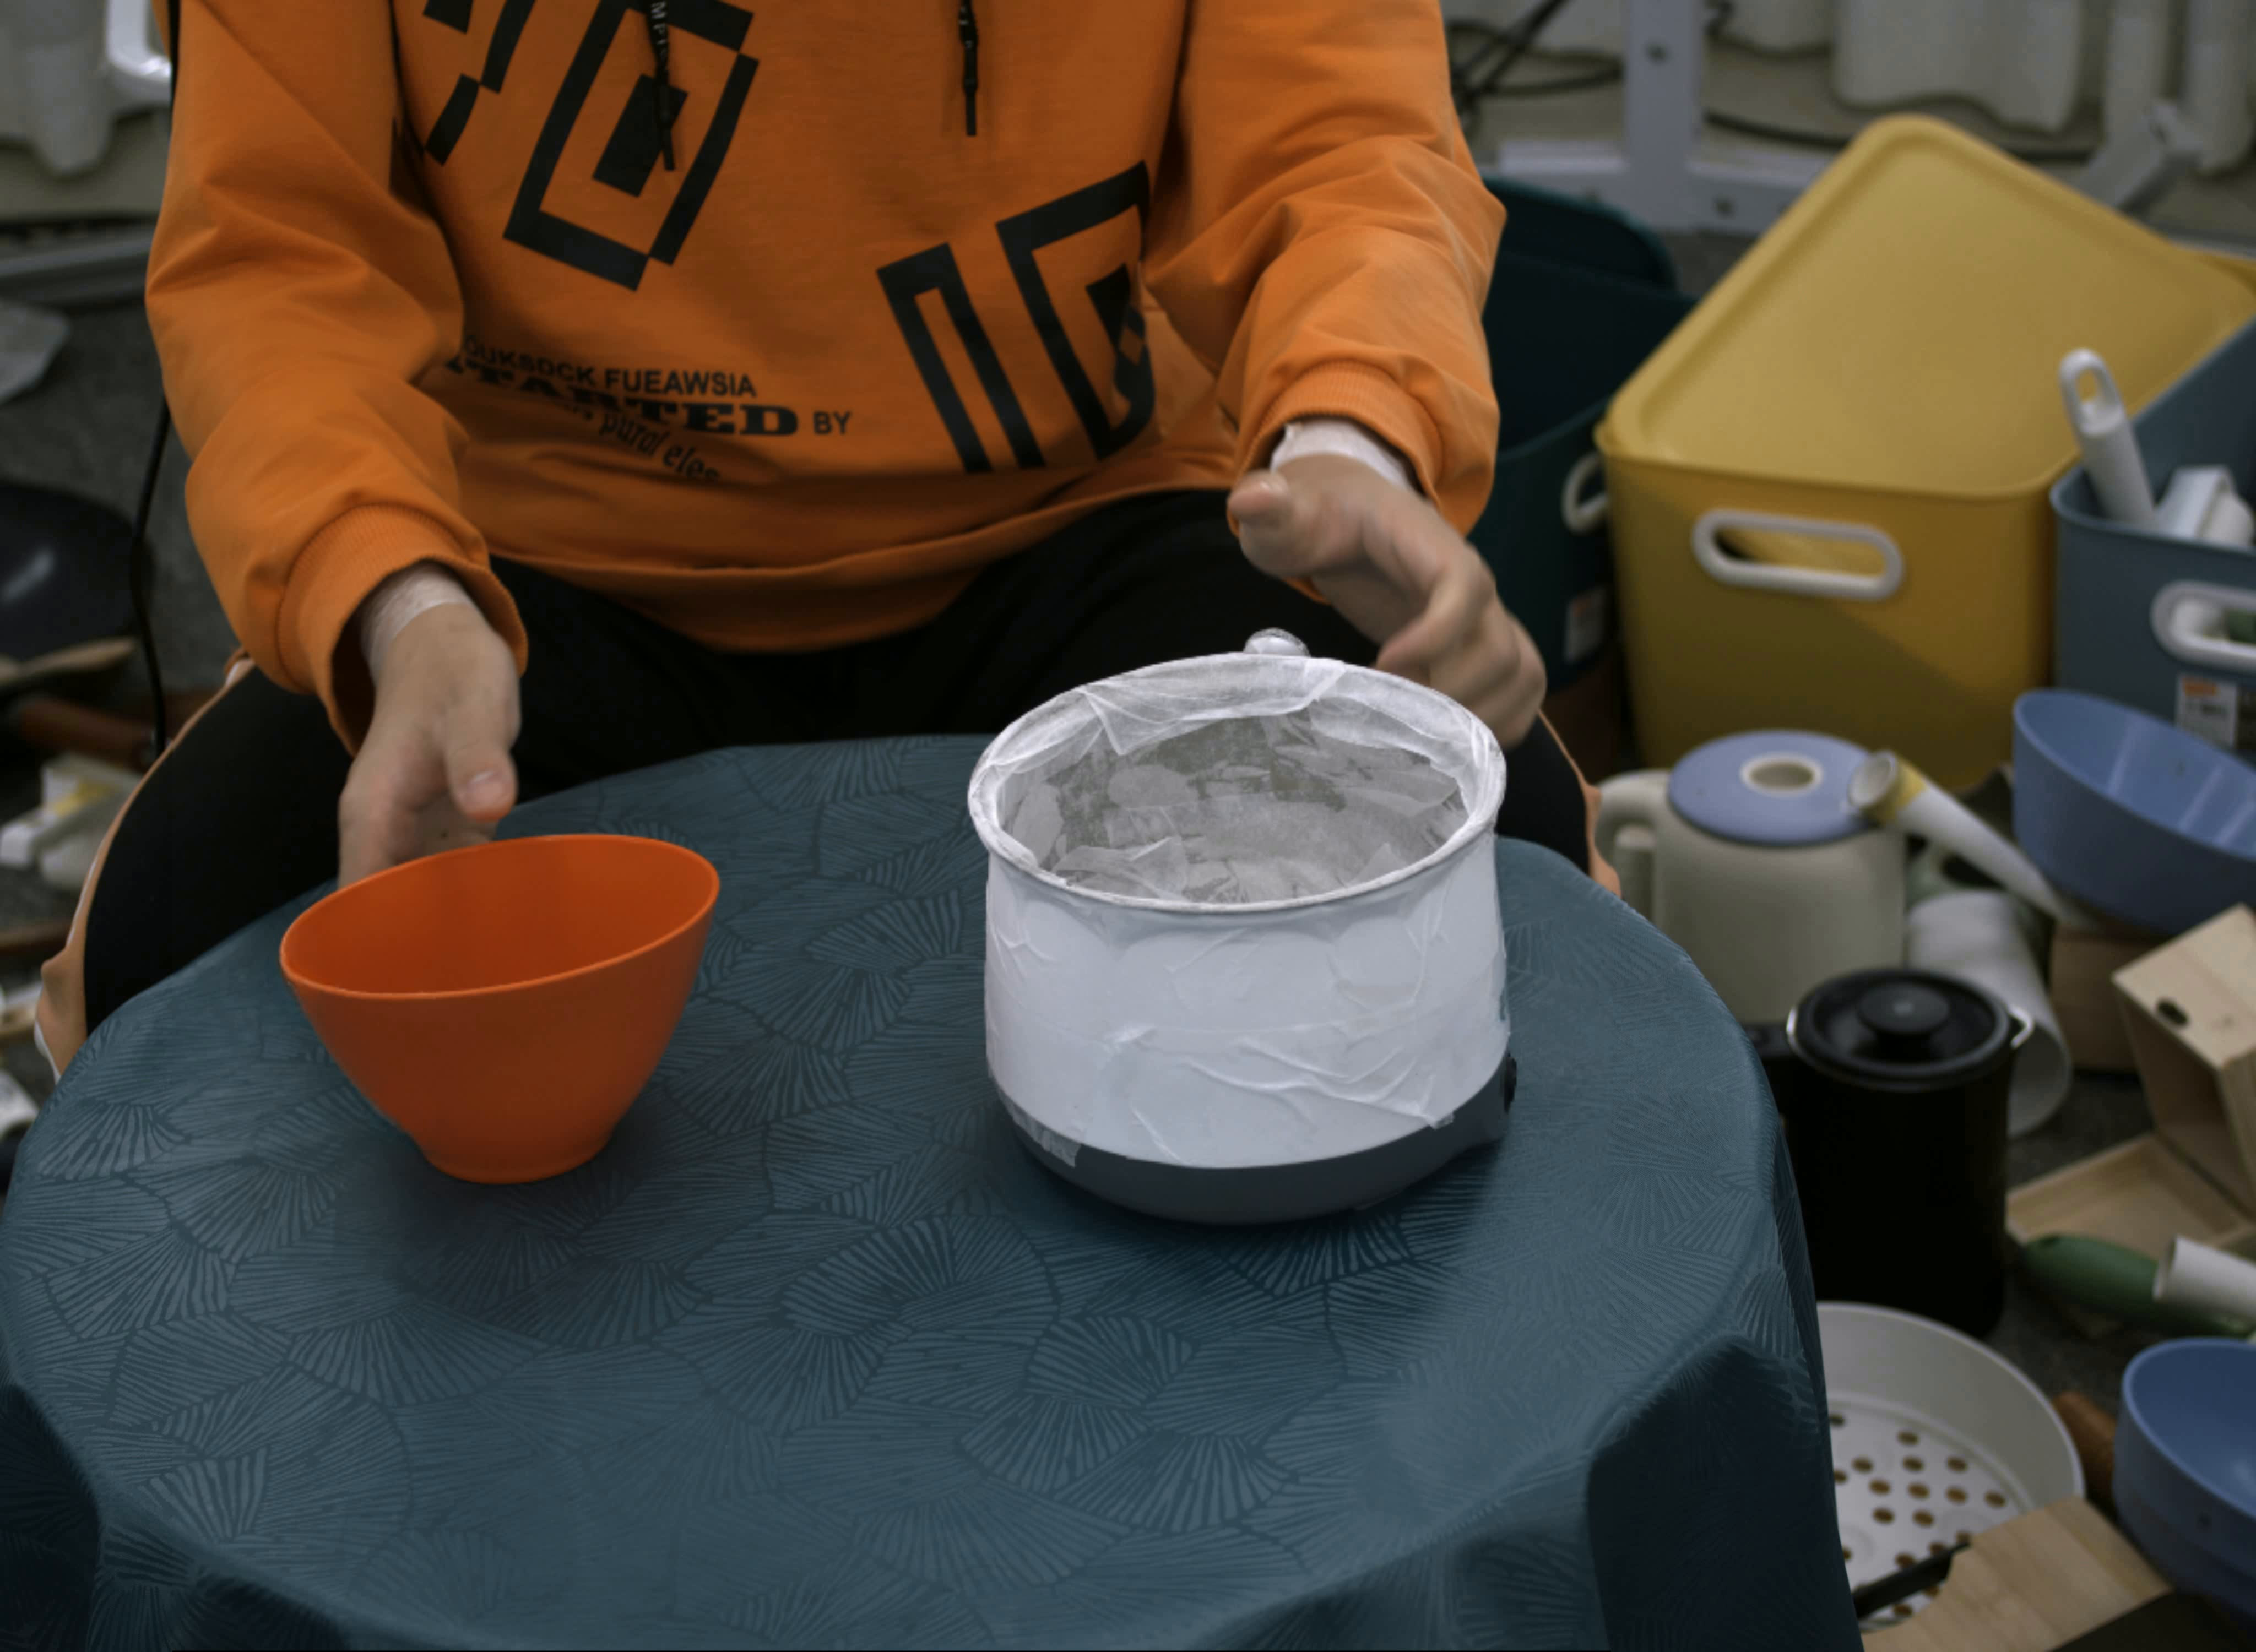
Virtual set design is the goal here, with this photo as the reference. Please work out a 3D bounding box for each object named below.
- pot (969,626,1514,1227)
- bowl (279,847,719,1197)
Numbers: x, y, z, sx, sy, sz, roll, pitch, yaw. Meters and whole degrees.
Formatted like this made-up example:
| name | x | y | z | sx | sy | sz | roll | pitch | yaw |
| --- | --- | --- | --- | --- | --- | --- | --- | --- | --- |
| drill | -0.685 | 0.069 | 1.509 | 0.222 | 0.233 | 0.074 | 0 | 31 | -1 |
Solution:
| name | x | y | z | sx | sy | sz | roll | pitch | yaw |
| --- | --- | --- | --- | --- | --- | --- | --- | --- | --- |
| pot | 0.042 | 0.026 | 1.894 | 0.177 | 0.135 | 0.237 | 1 | 28 | 7 |
| bowl | -0.207 | 0.069 | 1.883 | 0.147 | 0.103 | 0.150 | -3 | 25 | 2 |
